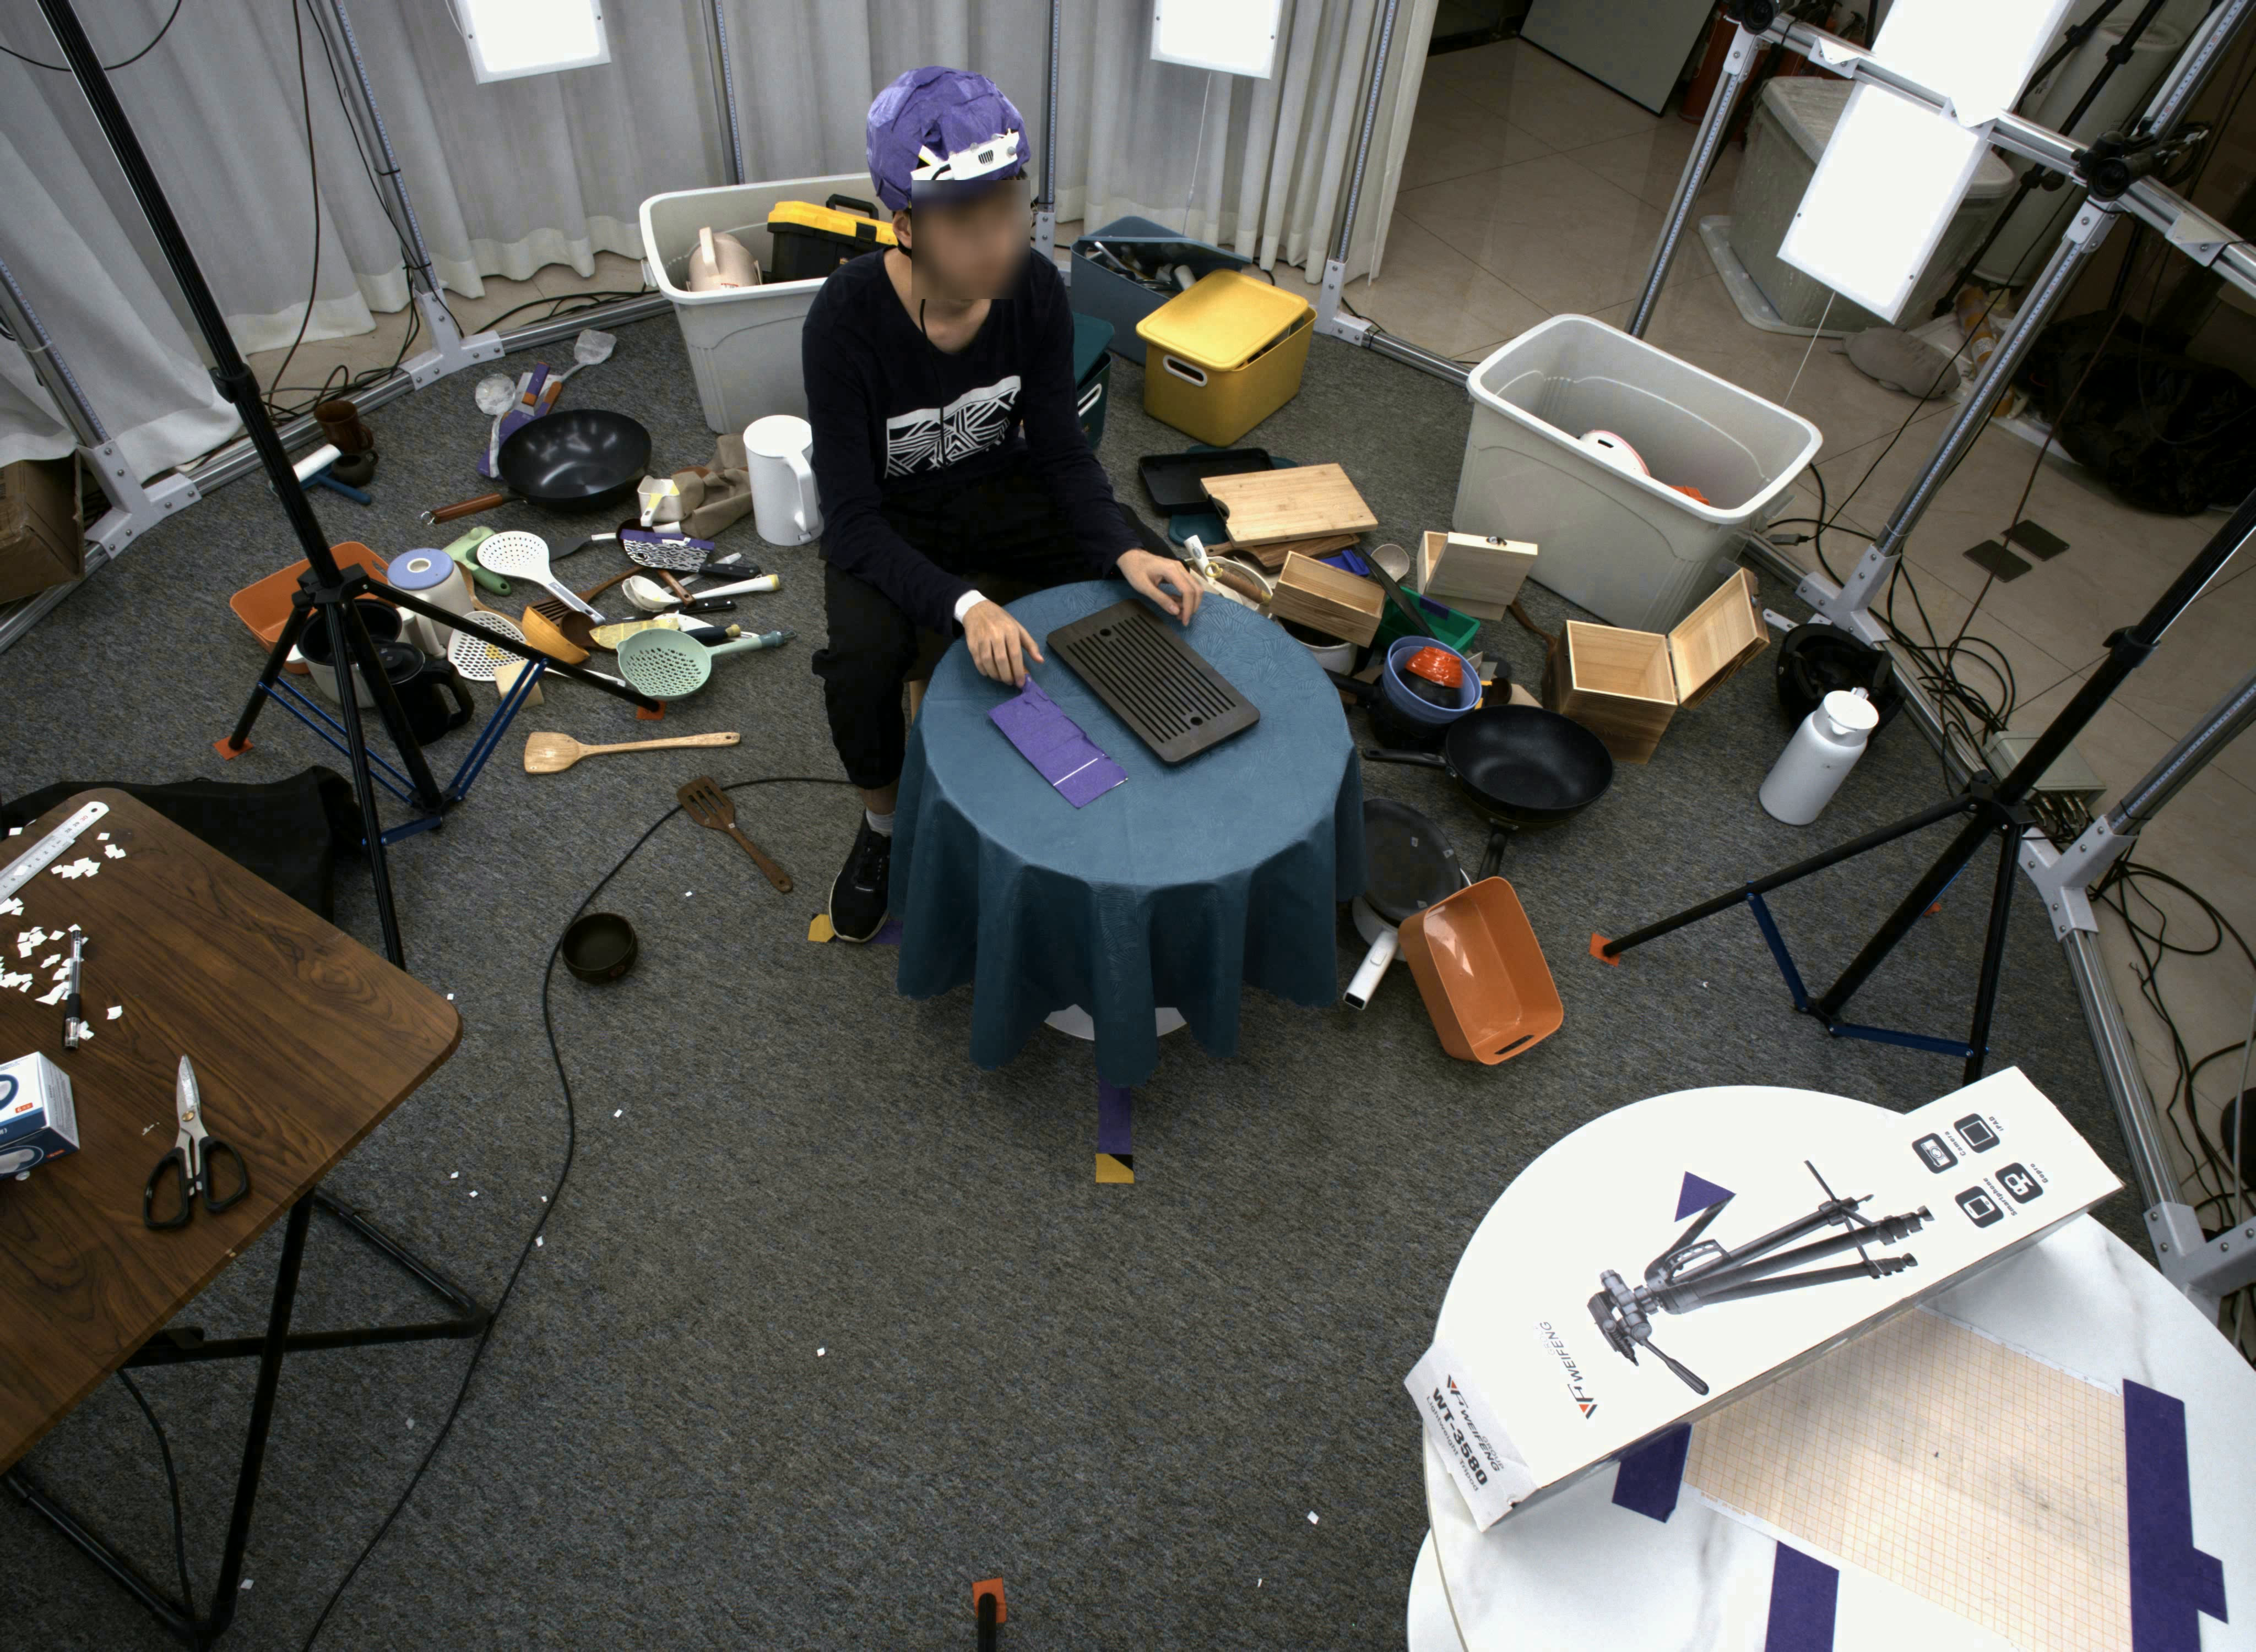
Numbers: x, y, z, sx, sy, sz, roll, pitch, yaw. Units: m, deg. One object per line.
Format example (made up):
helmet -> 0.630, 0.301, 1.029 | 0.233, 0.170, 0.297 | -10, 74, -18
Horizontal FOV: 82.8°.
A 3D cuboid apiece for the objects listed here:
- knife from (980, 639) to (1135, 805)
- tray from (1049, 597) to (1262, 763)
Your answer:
knife -> -0.127, -0.148, 1.769 | 0.104, 0.031, 0.321 | -30, 58, -26
tray -> 0.036, -0.214, 1.843 | 0.171, 0.018, 0.312 | -27, 56, -24
